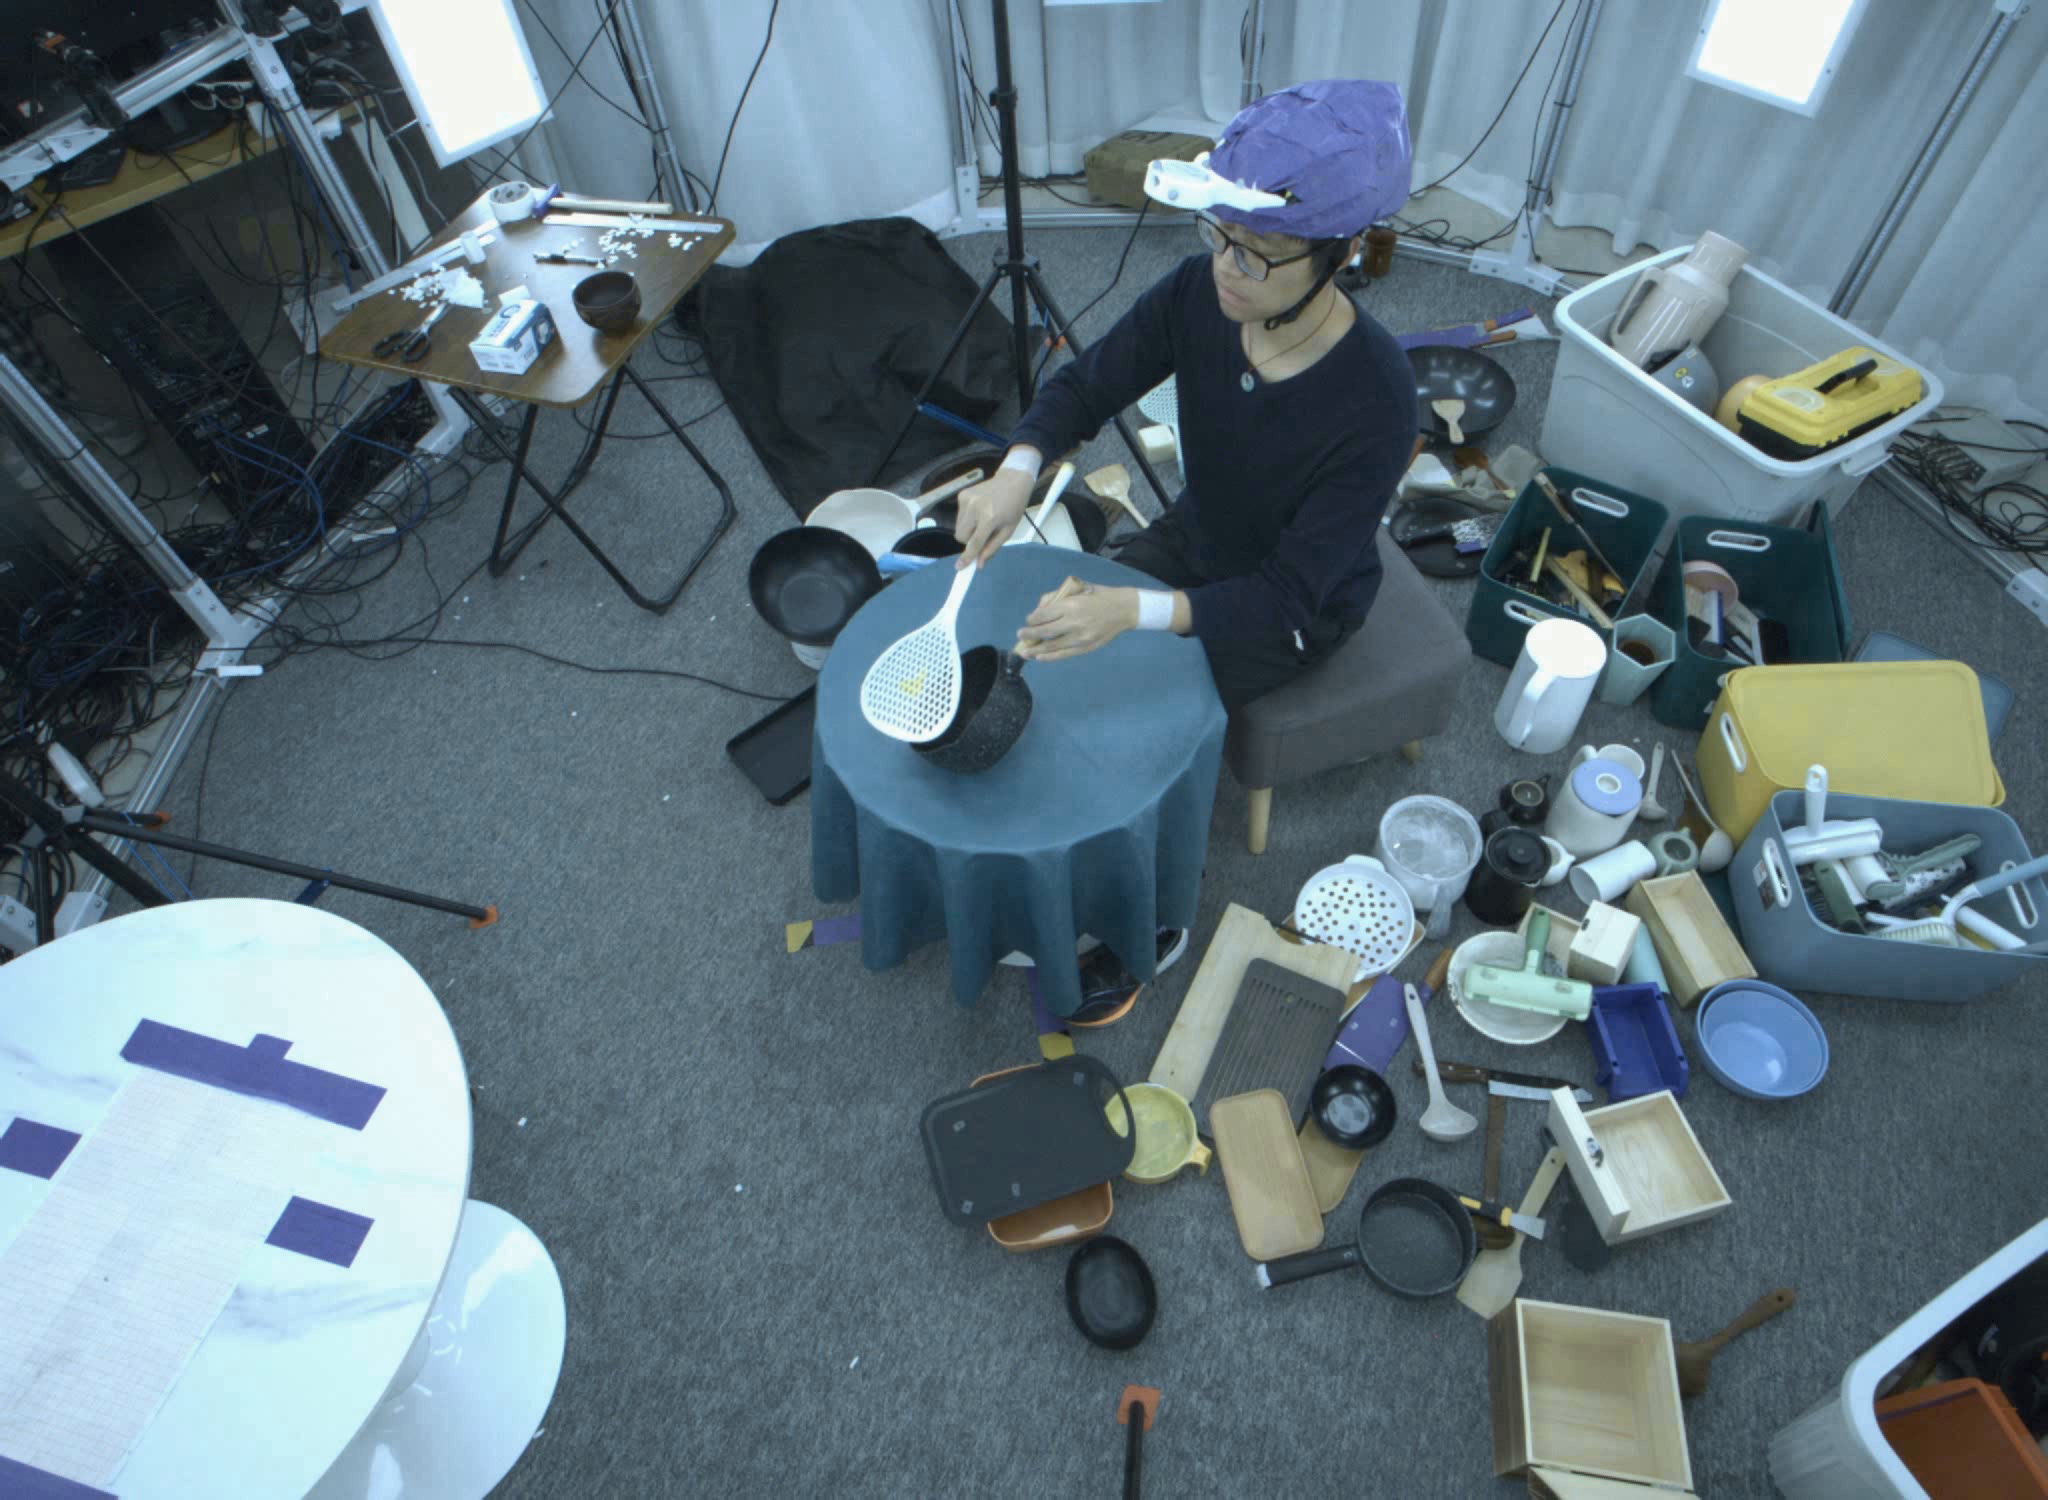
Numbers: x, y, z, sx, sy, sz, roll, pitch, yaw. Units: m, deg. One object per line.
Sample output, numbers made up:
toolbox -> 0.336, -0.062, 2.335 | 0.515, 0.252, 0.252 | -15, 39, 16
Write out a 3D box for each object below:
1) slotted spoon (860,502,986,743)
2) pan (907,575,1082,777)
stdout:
slotted spoon -> -0.117, -0.176, 1.698 | 0.139, 0.348, 0.049 | 20, 16, -17
pan -> -0.021, -0.102, 1.693 | 0.340, 0.110, 0.204 | -41, 31, 21
